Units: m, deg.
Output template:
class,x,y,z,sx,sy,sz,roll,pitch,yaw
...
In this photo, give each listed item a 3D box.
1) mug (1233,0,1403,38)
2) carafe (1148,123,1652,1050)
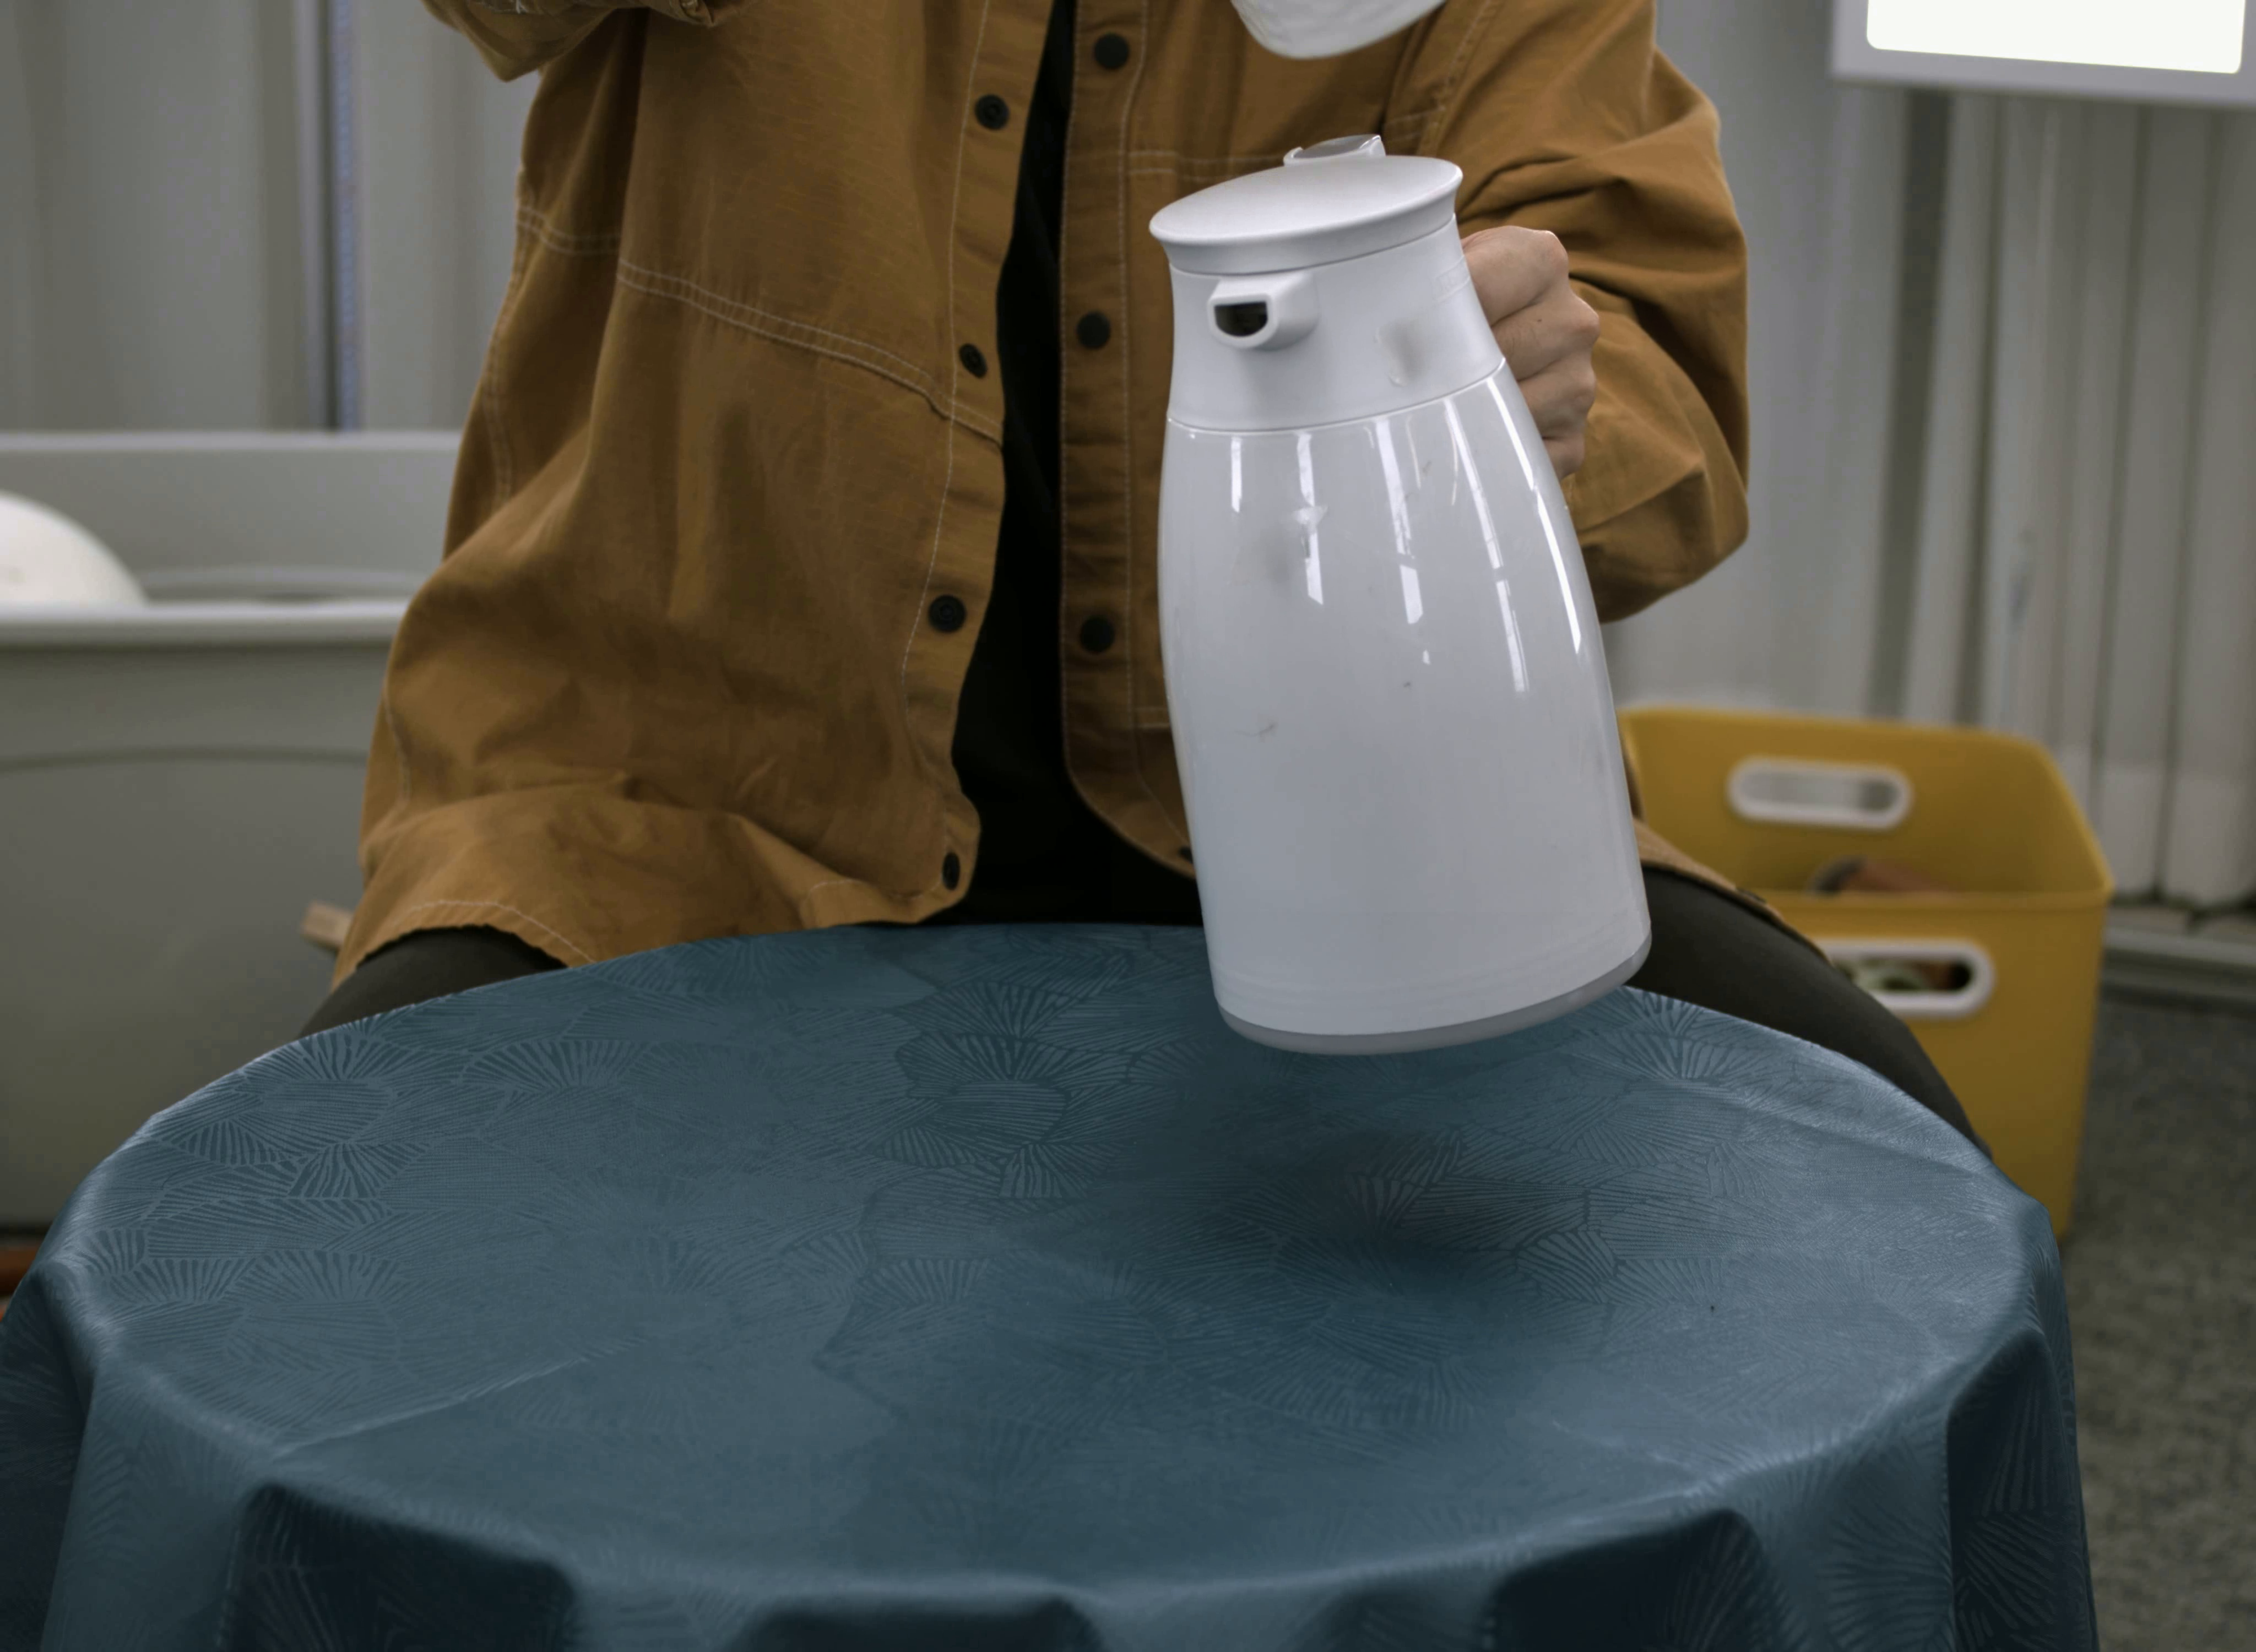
class,x,y,z,sx,sy,sz,roll,pitch,yaw
mug,0.037,-0.291,1.477,0.085,0.103,0.116,-42,35,-11
carafe,0.076,-0.079,1.557,0.131,0.251,0.167,-4,18,22
